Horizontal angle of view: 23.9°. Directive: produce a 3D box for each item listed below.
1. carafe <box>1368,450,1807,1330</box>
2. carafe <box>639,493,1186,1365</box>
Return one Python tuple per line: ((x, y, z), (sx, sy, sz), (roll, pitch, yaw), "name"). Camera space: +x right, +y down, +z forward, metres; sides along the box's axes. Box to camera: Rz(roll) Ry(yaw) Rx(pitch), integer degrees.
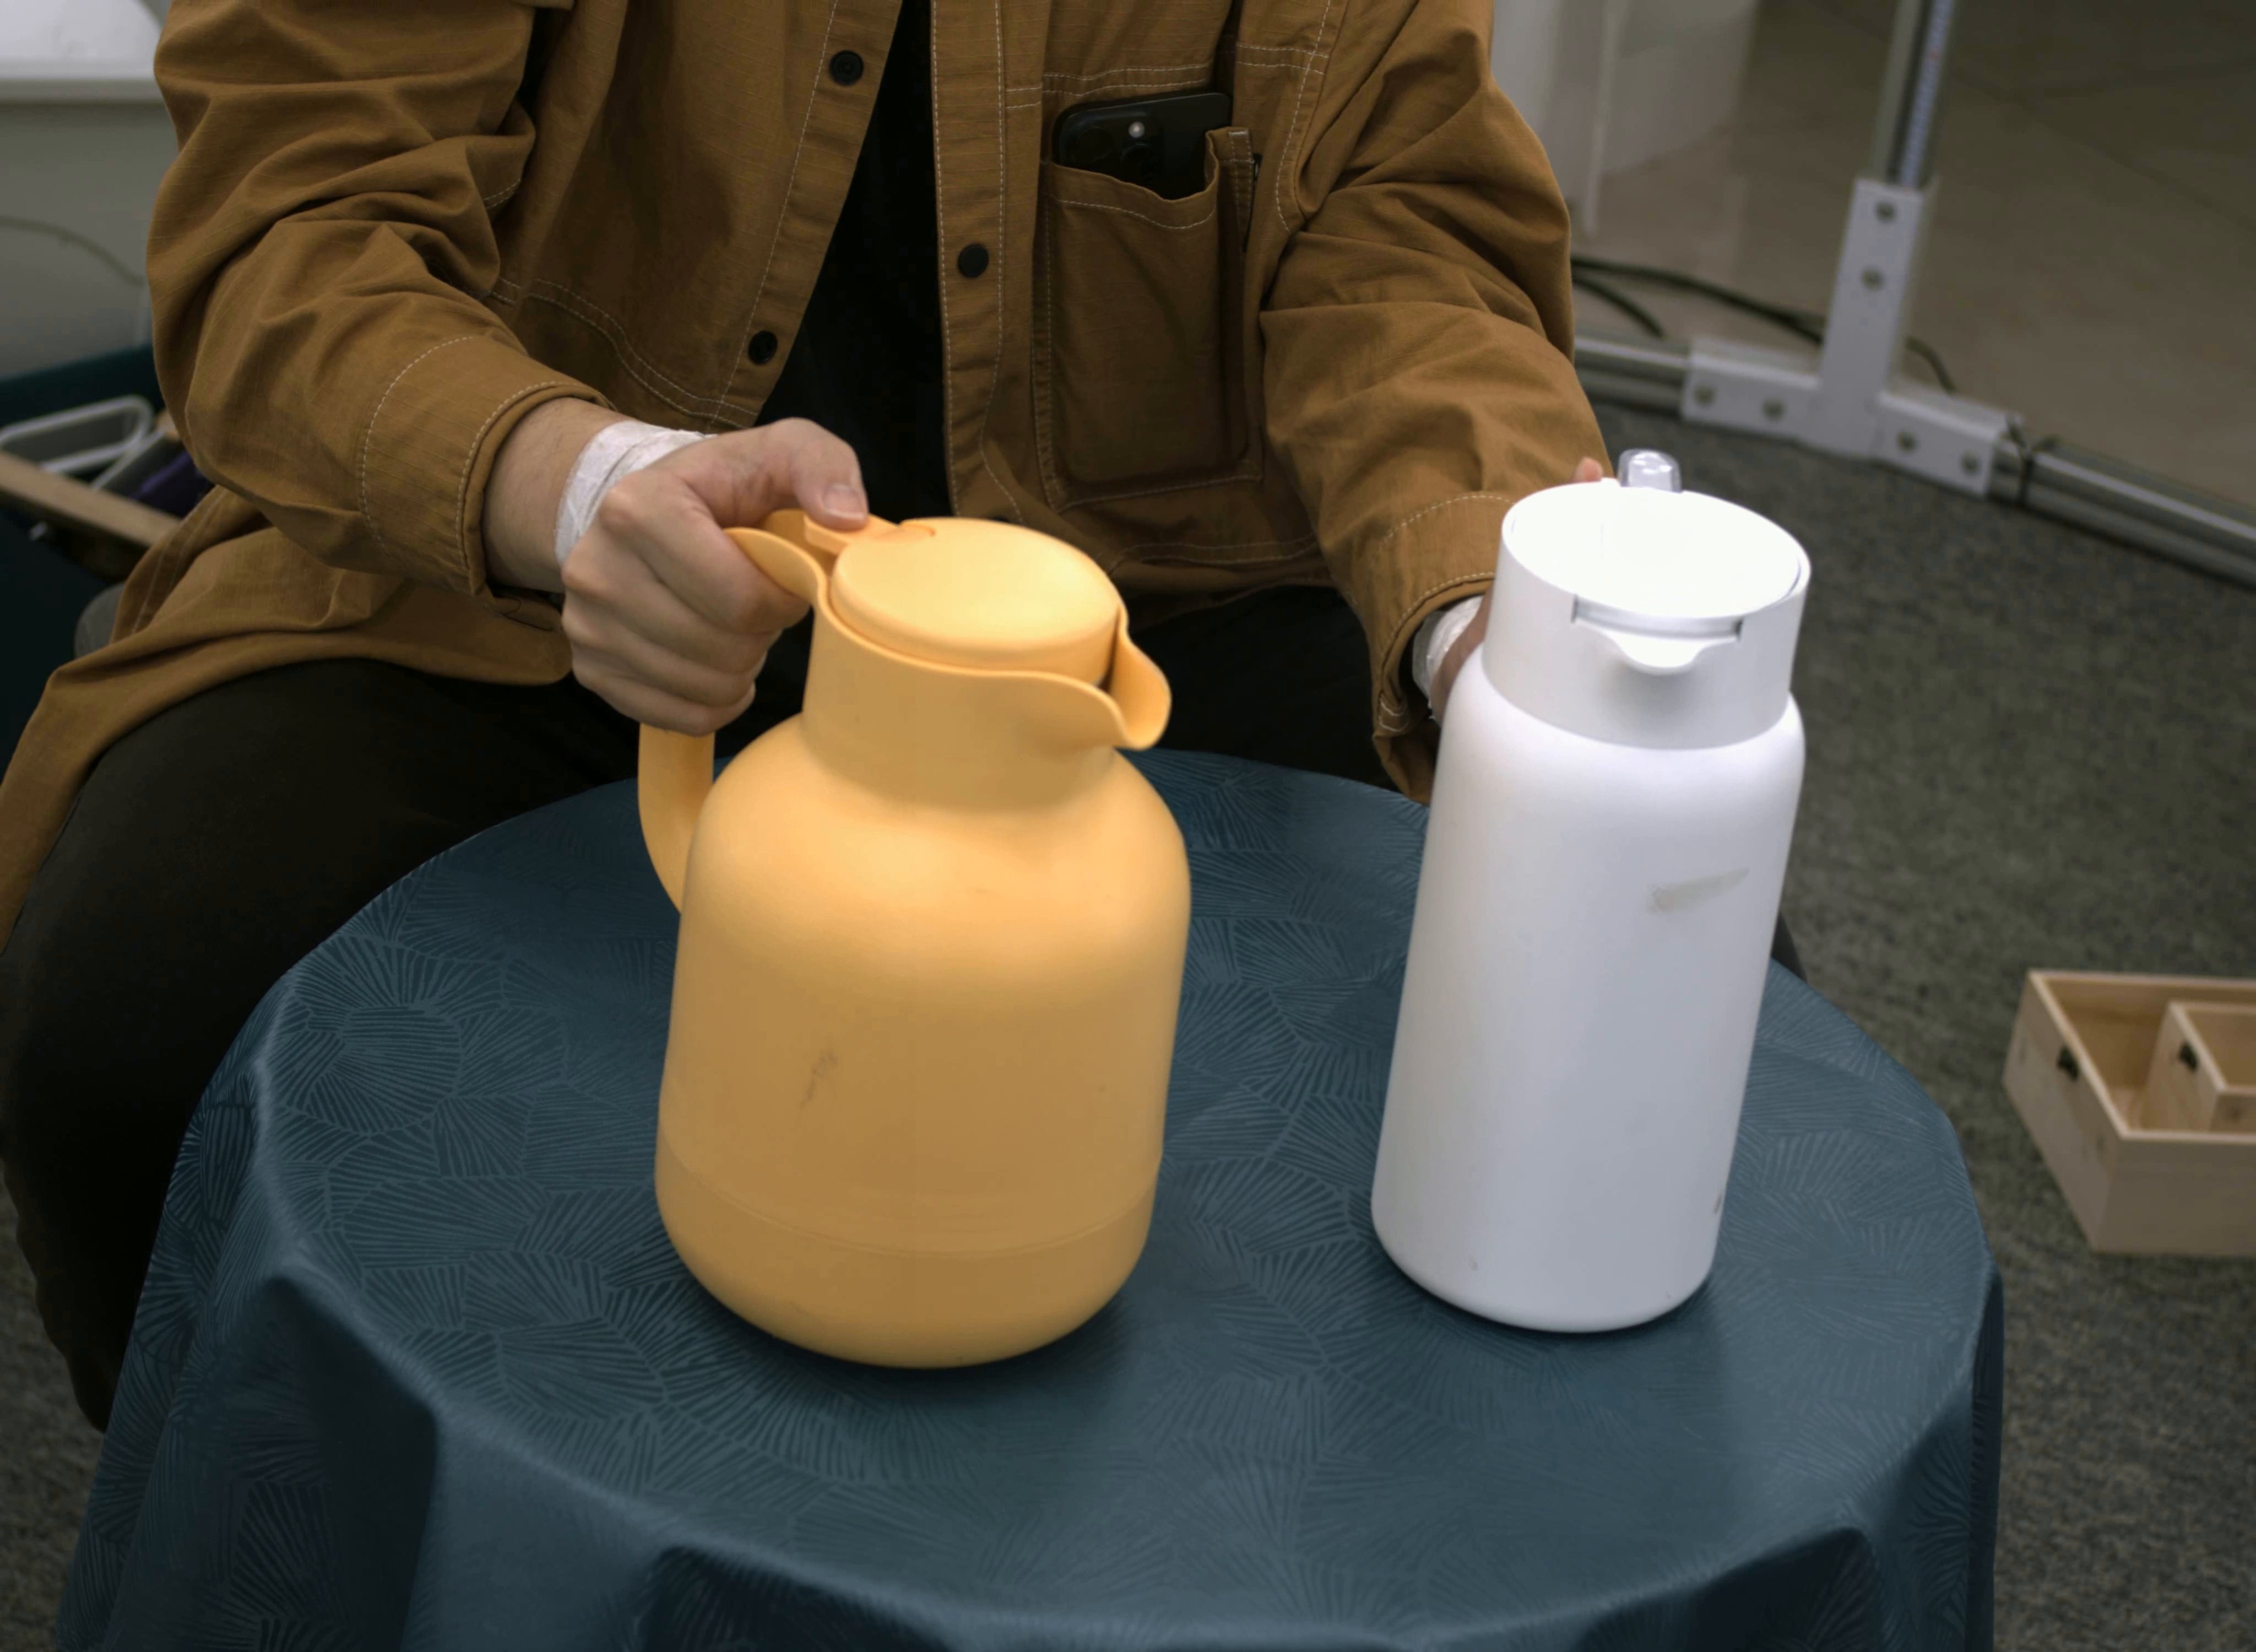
((0.151, 0.017, 1.752), (0.123, 0.268, 0.174), (4, 27, 0), "carafe")
((-0.077, 0.022, 1.696), (0.204, 0.260, 0.162), (29, 31, 34), "carafe")
